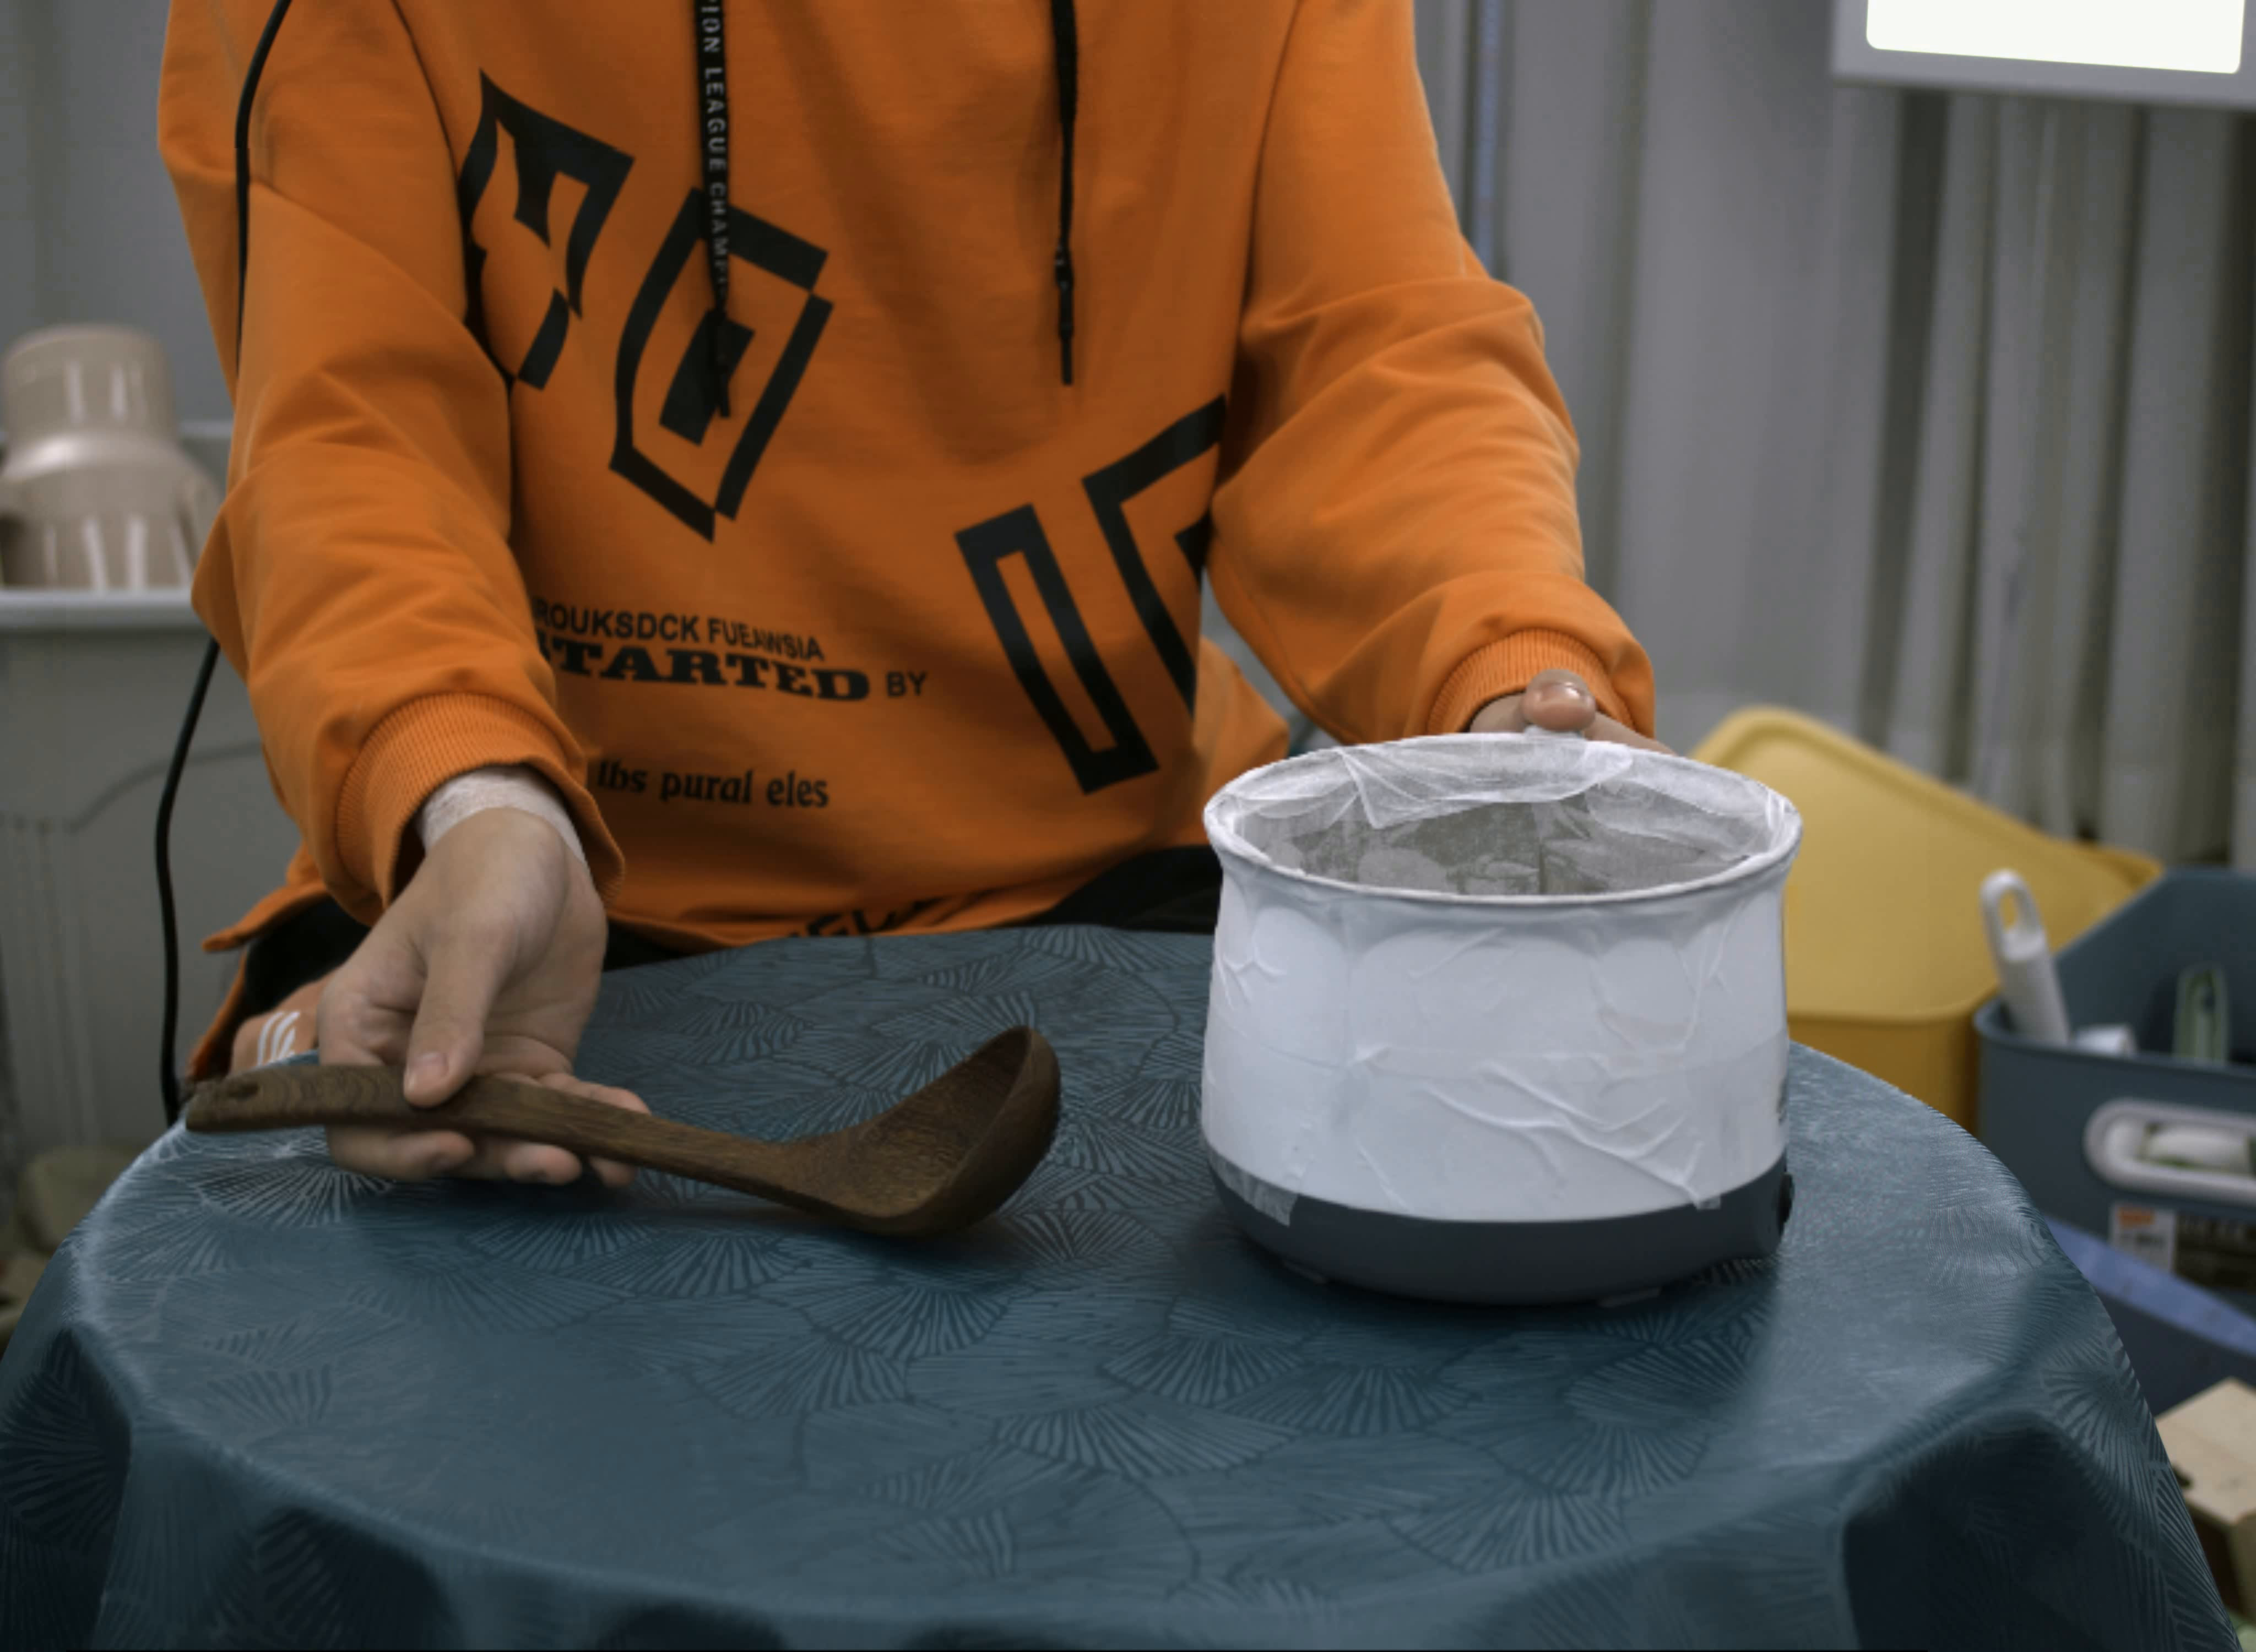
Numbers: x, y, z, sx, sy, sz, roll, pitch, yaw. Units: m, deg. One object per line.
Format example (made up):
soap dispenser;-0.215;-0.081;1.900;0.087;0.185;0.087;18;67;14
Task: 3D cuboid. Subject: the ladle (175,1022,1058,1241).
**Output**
ladle;-0.156;0.077;1.586;0.272;0.072;0.075;9;34;7

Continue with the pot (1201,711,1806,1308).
pot;0.115;0.049;1.594;0.177;0.138;0.233;4;17;10
